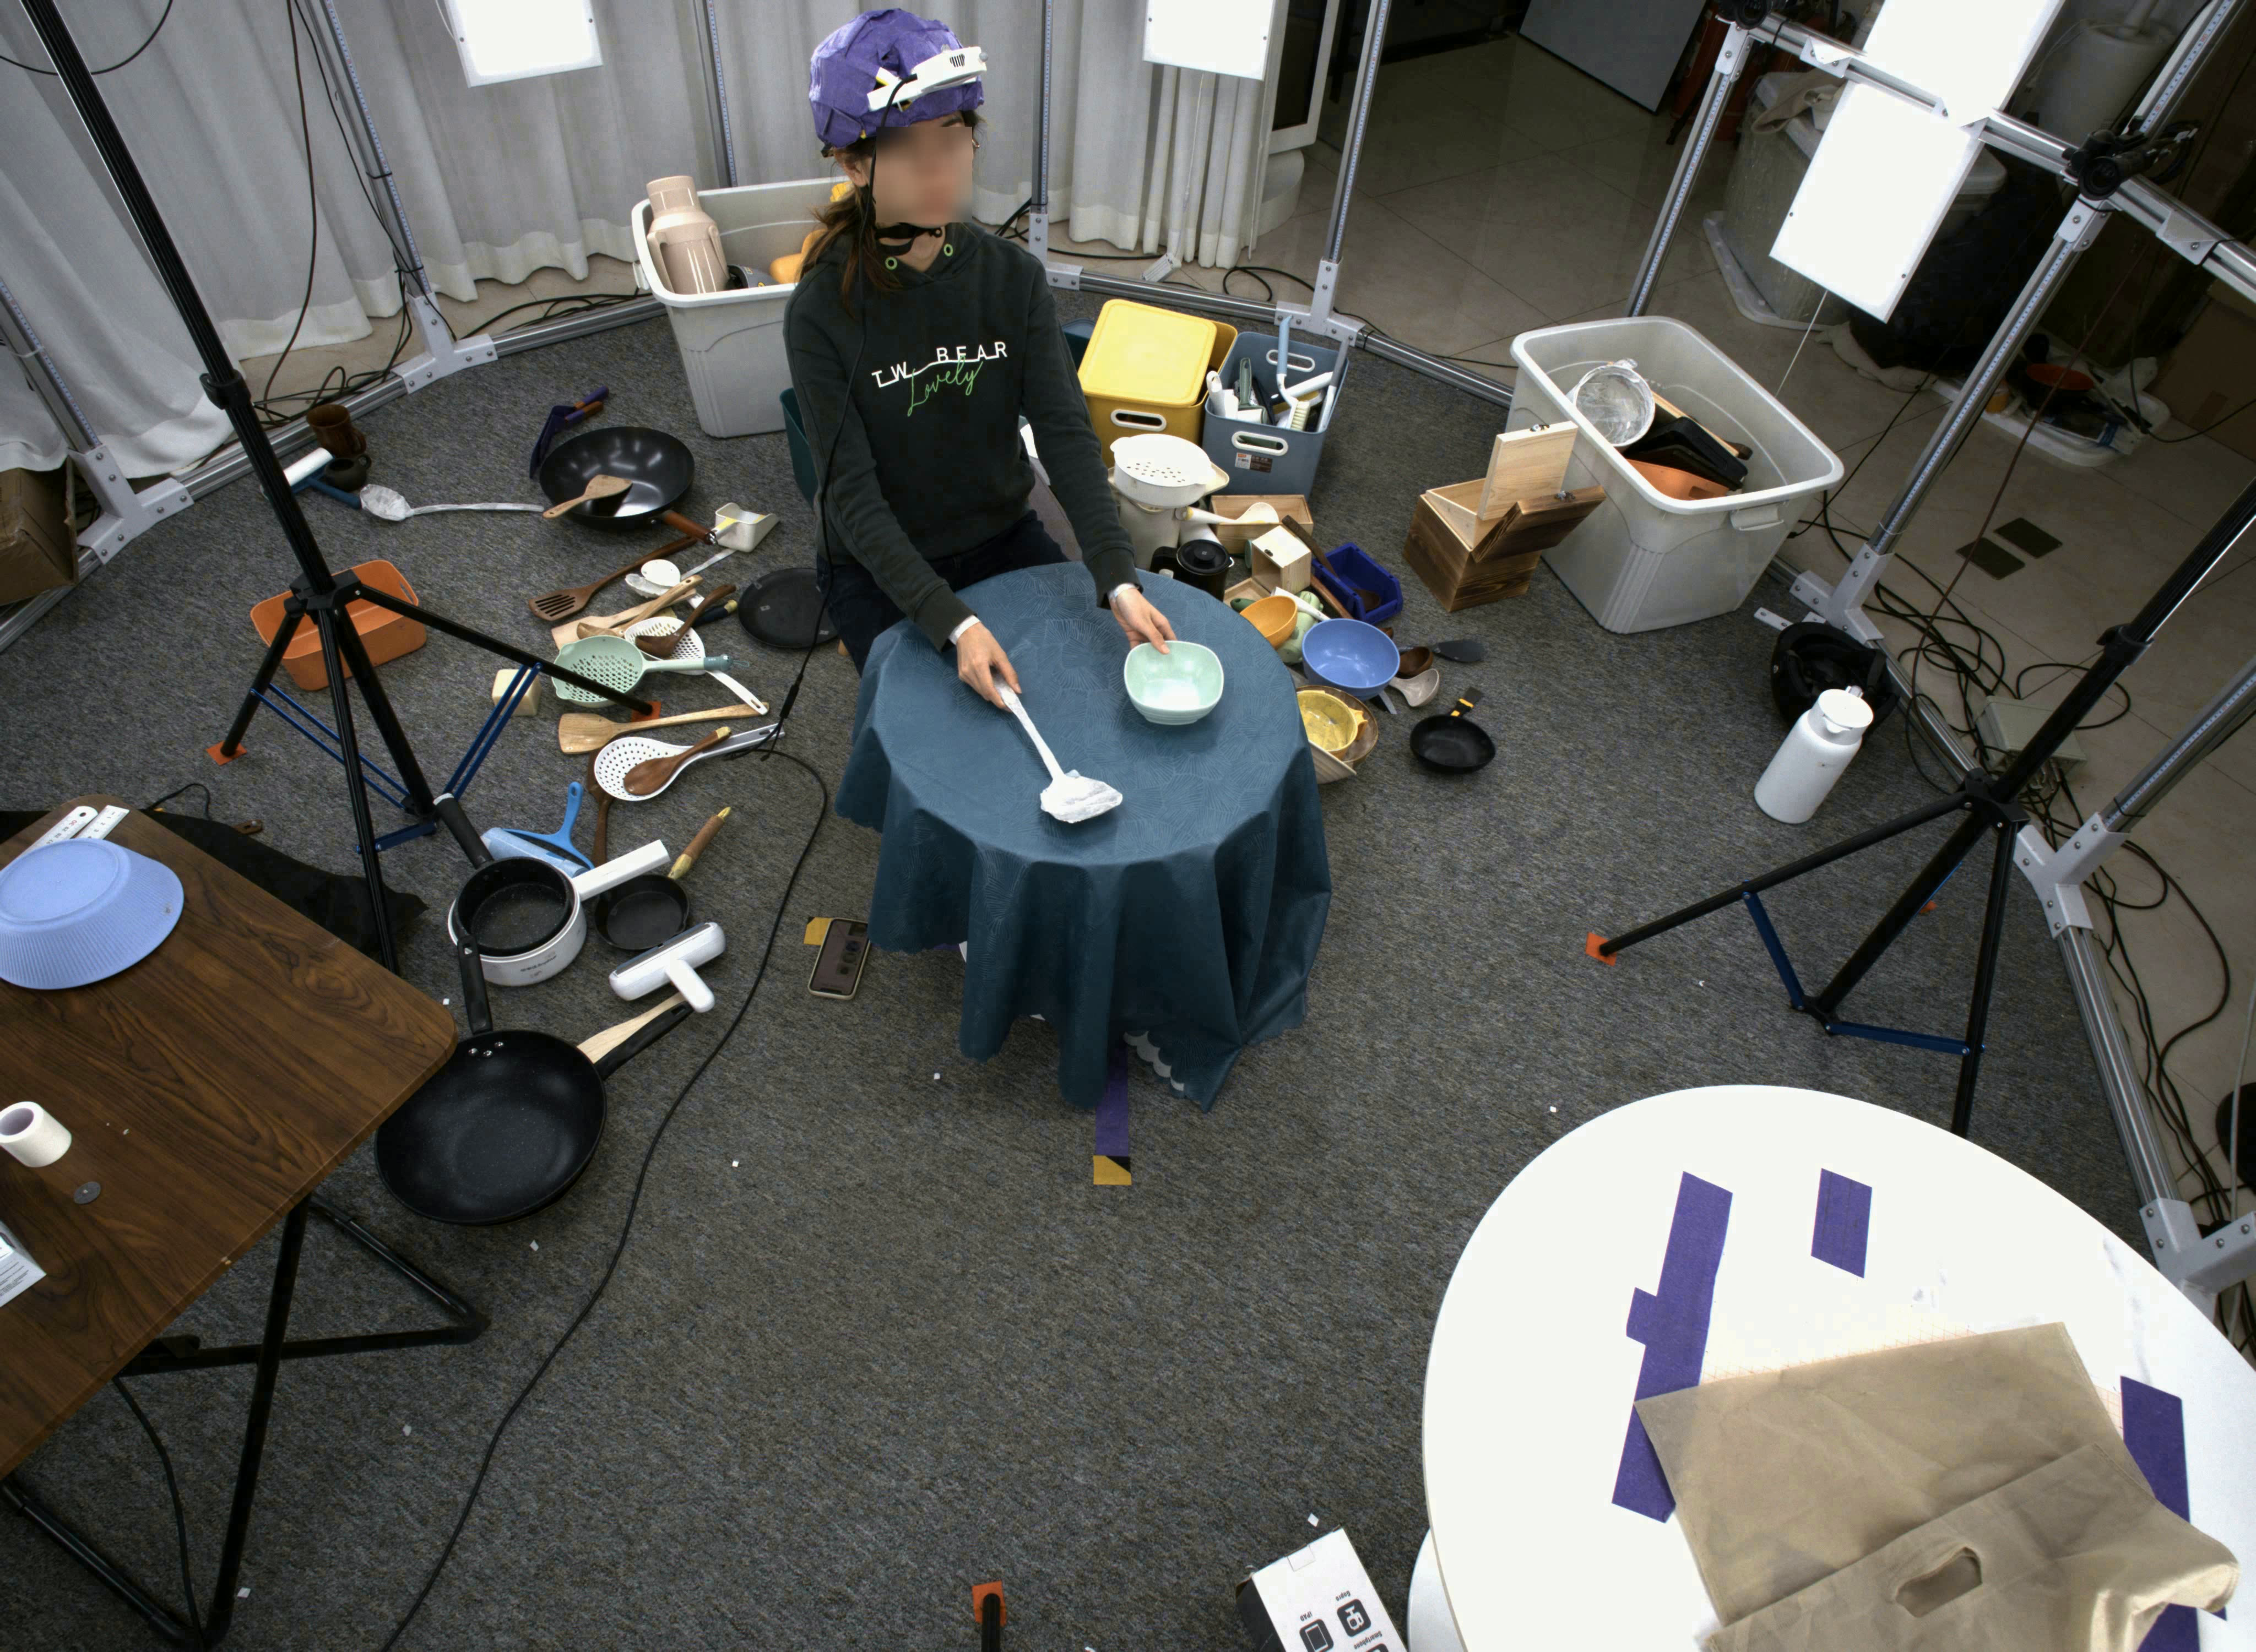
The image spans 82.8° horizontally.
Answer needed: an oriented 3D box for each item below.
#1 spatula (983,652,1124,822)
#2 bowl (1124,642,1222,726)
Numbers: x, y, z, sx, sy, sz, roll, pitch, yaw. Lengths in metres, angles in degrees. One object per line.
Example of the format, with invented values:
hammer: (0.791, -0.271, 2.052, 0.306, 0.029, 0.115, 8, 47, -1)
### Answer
spatula: (-0.125, -0.132, 1.760, 0.099, 0.044, 0.373, -20, 55, -20)
bowl: (0.061, -0.193, 1.820, 0.151, 0.057, 0.155, 3, 50, -4)
